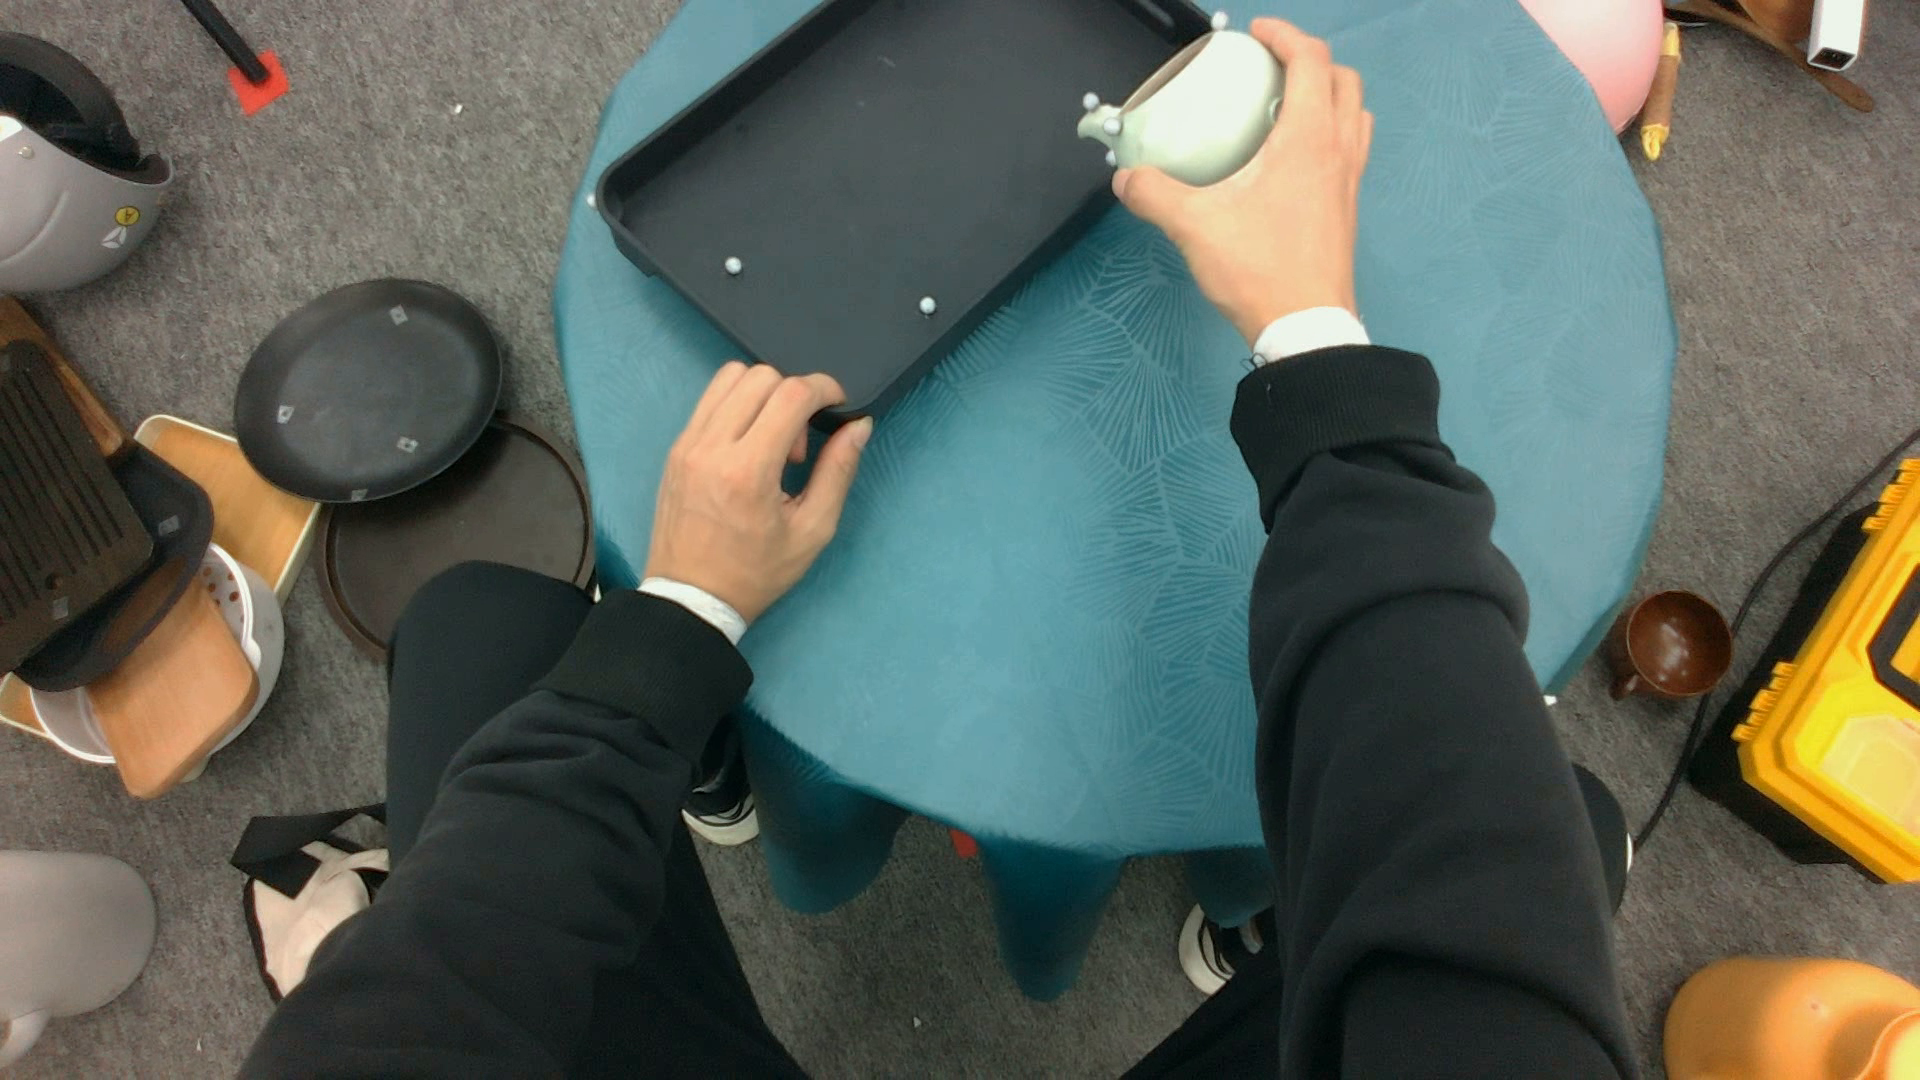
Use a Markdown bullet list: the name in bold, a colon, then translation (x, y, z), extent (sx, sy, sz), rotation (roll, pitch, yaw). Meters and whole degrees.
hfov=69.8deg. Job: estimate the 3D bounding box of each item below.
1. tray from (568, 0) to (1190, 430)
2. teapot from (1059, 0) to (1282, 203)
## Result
- **tray**: translation (-0.032, -0.216, 0.725), extent (0.184, 0.037, 0.319), rotation (40, 71, 8)
- **teapot**: translation (0.106, -0.204, 0.655), extent (0.074, 0.143, 0.088), rotation (45, 67, -14)
